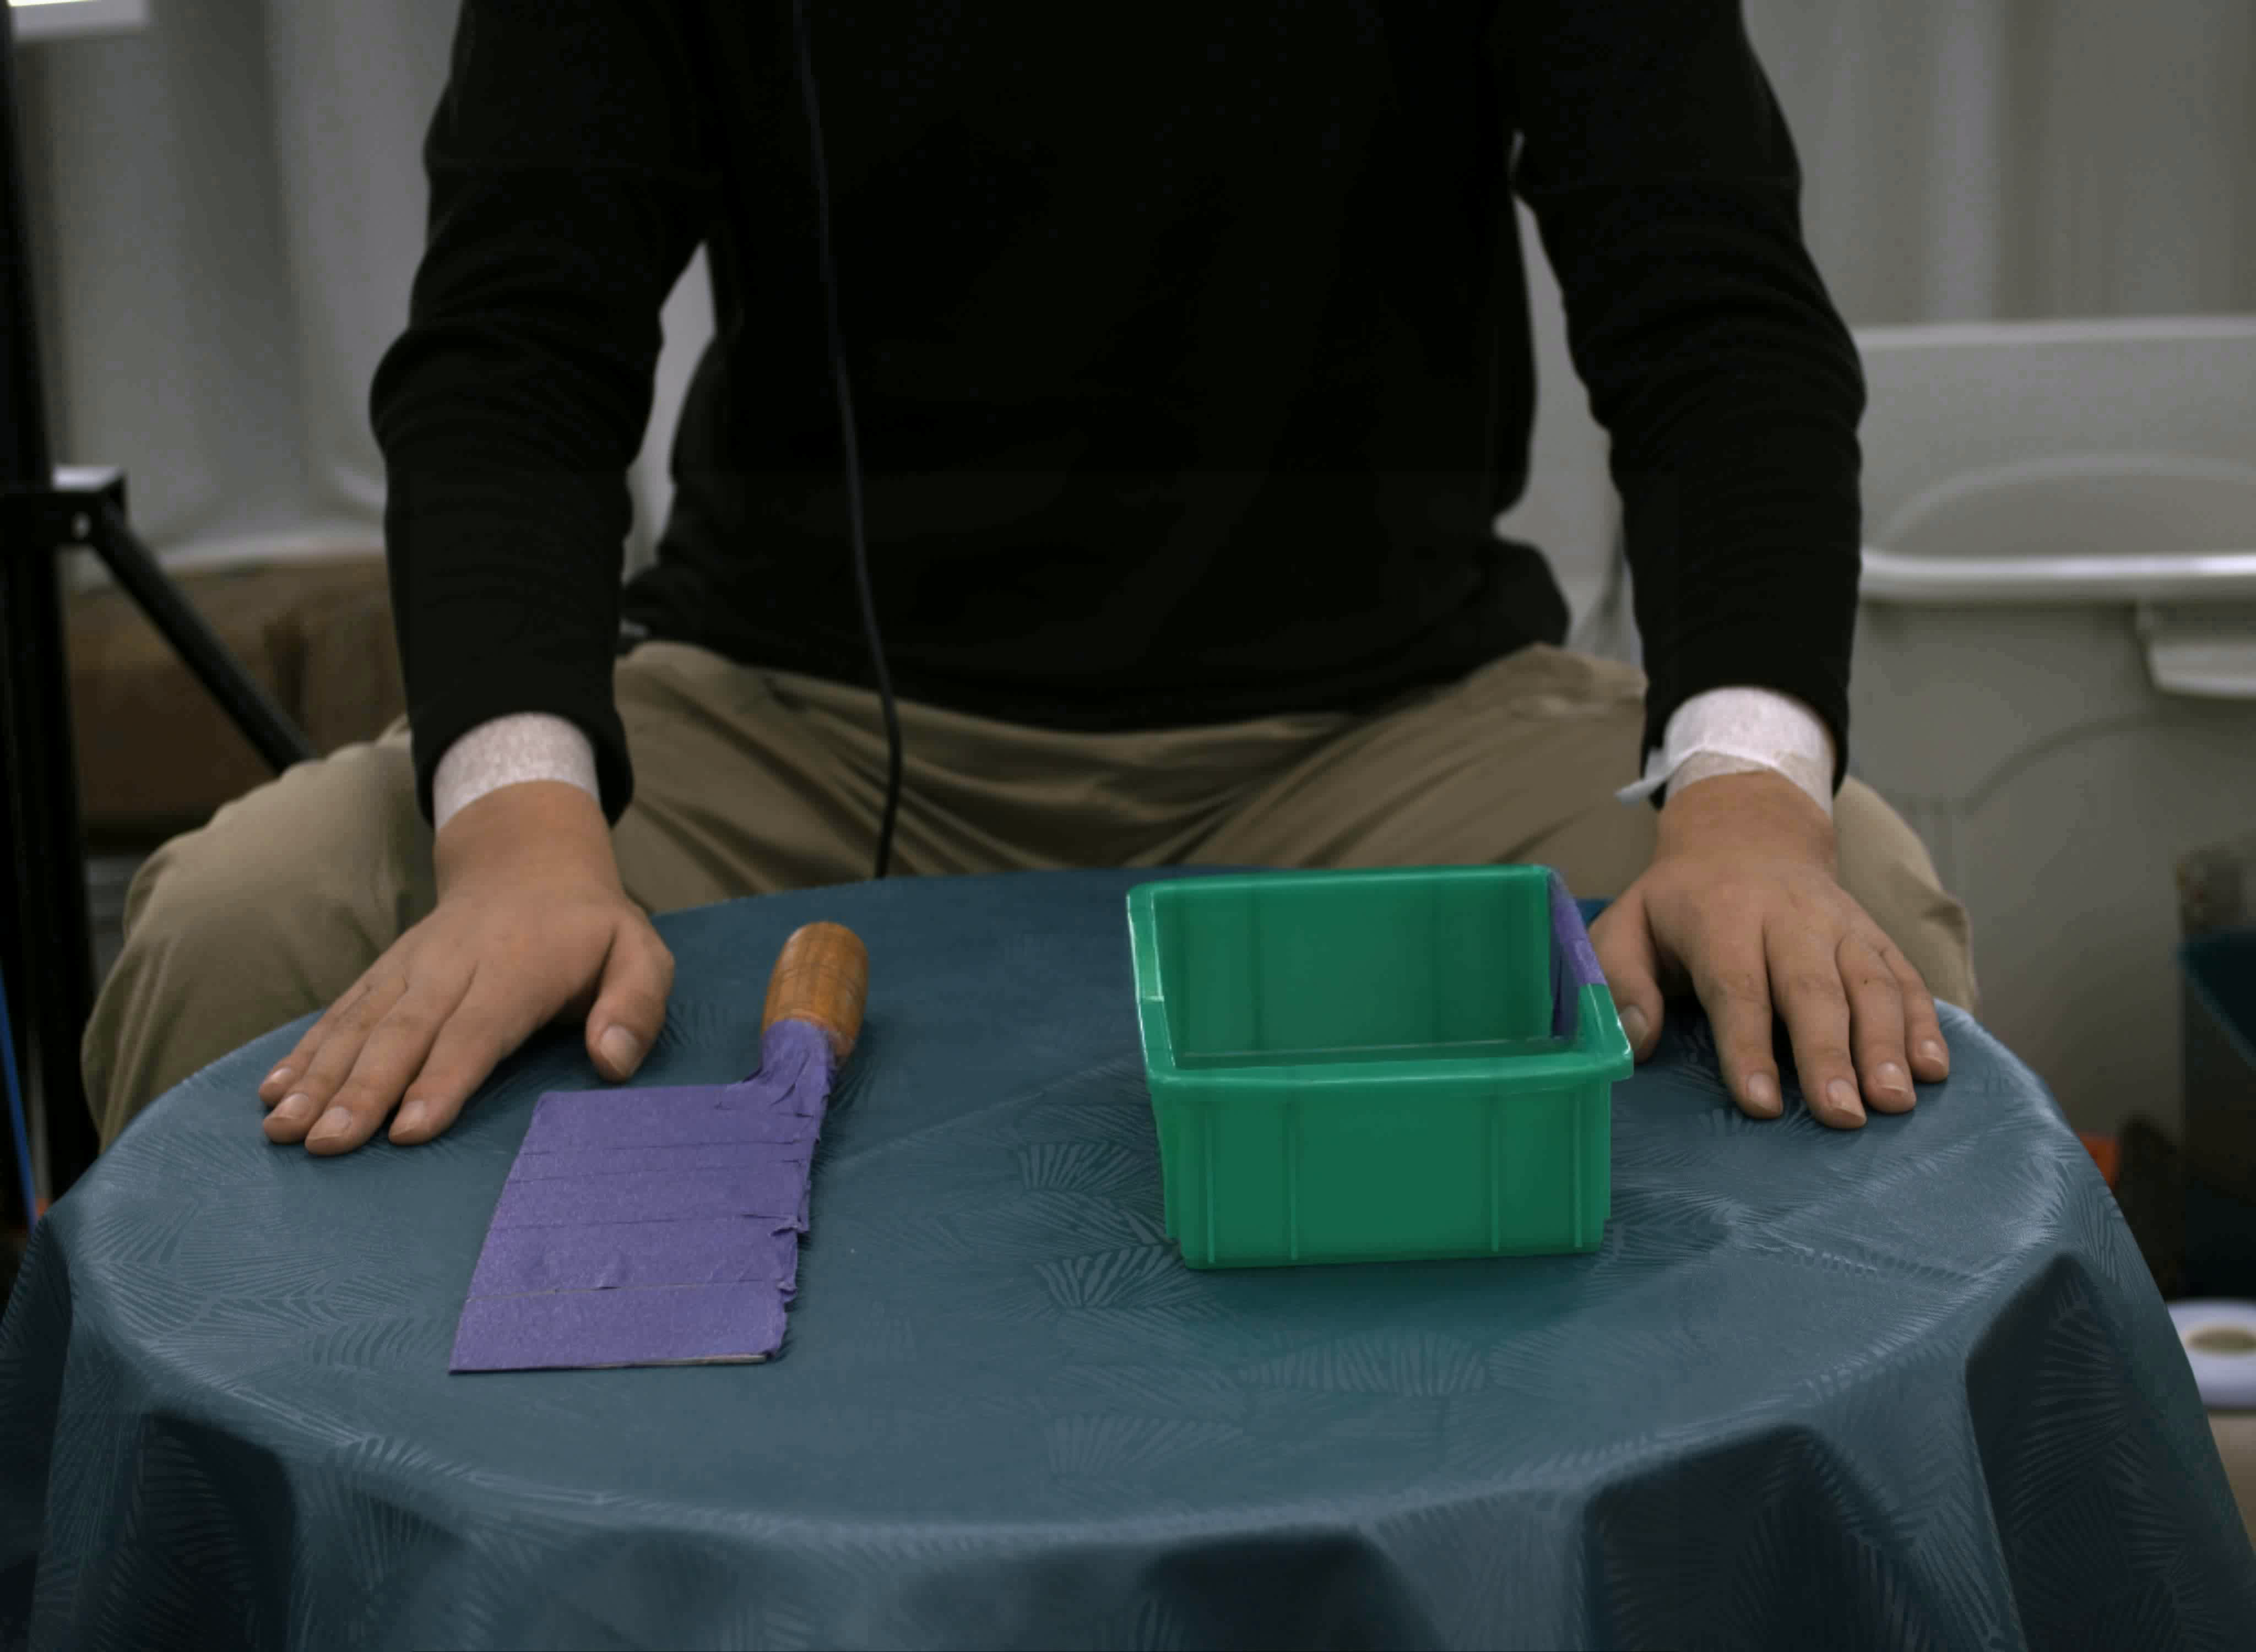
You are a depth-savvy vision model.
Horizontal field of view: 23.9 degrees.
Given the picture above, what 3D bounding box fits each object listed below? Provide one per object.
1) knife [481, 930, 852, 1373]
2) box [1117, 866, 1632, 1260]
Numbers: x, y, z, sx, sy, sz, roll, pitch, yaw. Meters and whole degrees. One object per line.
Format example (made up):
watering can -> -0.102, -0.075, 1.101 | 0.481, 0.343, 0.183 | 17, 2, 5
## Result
knife -> -0.135, 0.093, 1.585 | 0.103, 0.032, 0.316 | -2, 16, 1
box -> 0.070, 0.069, 1.569 | 0.138, 0.065, 0.211 | -2, 14, -2
